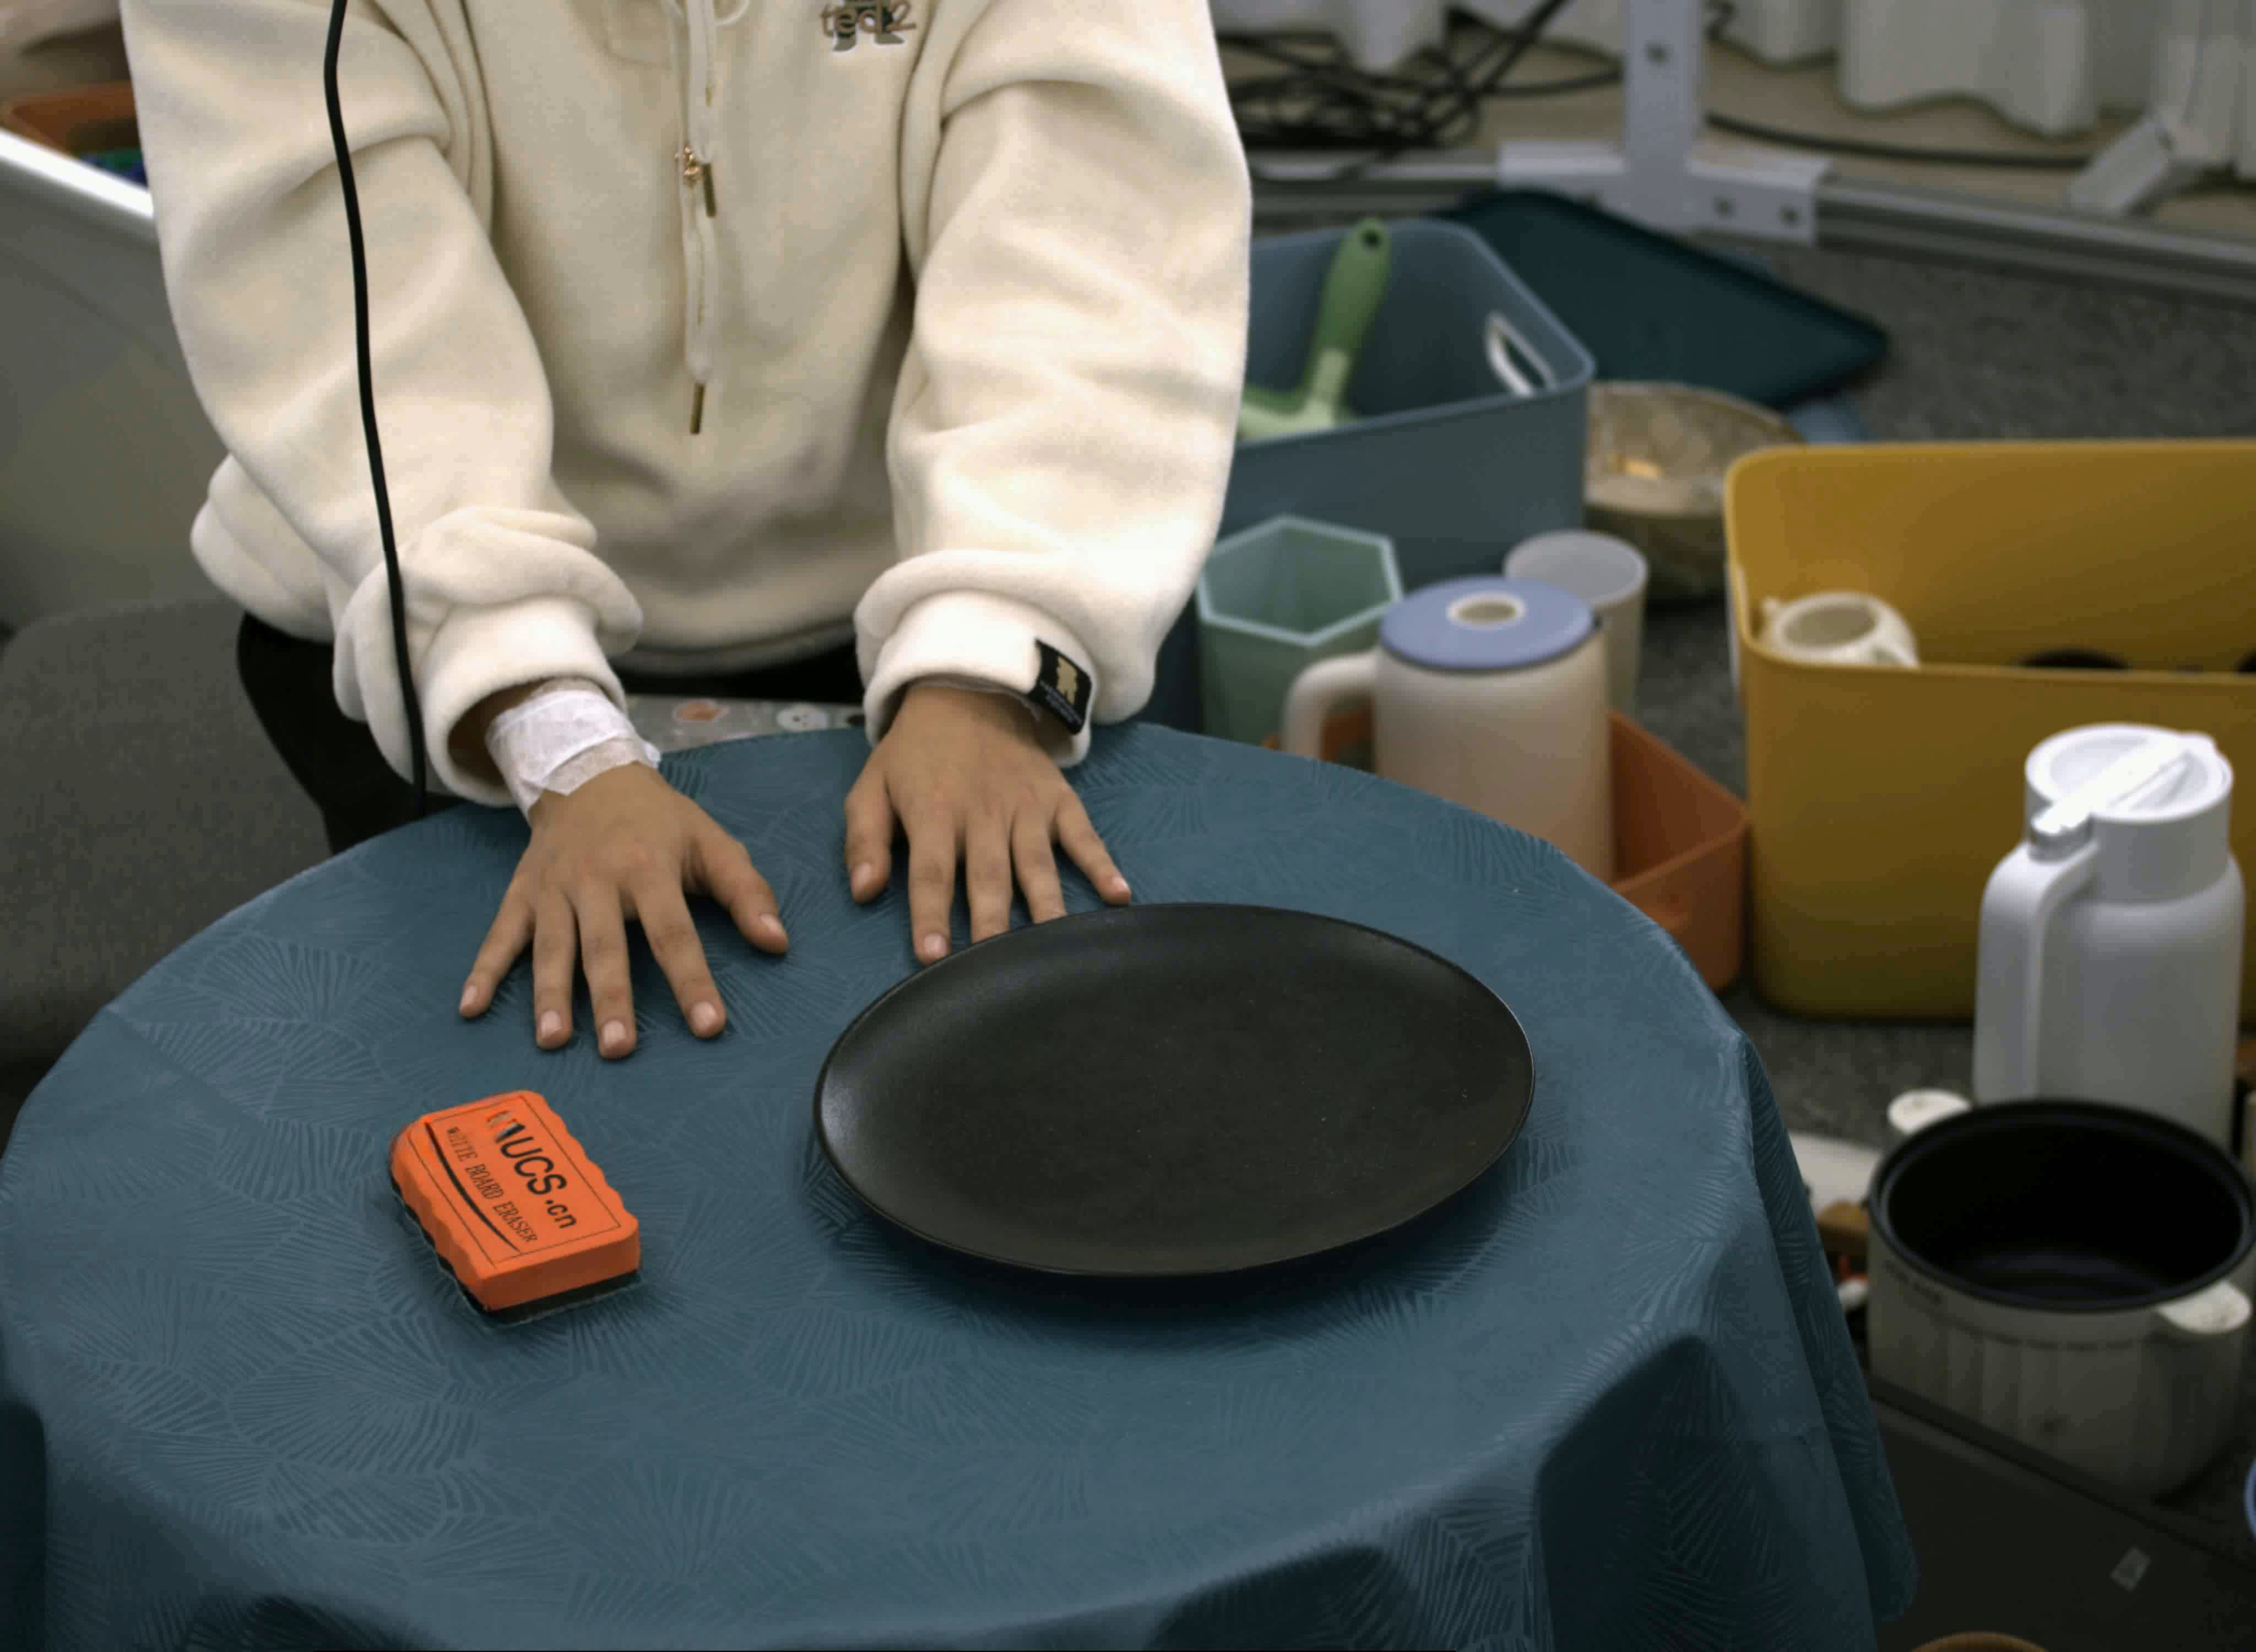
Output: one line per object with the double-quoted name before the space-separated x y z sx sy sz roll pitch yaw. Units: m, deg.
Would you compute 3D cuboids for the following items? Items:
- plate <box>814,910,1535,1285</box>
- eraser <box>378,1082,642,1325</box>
"plate" 0.016 0.094 1.887 0.243 0.023 0.248 -2 27 2
"eraser" -0.204 0.124 1.846 0.059 0.022 0.109 -16 32 -21
